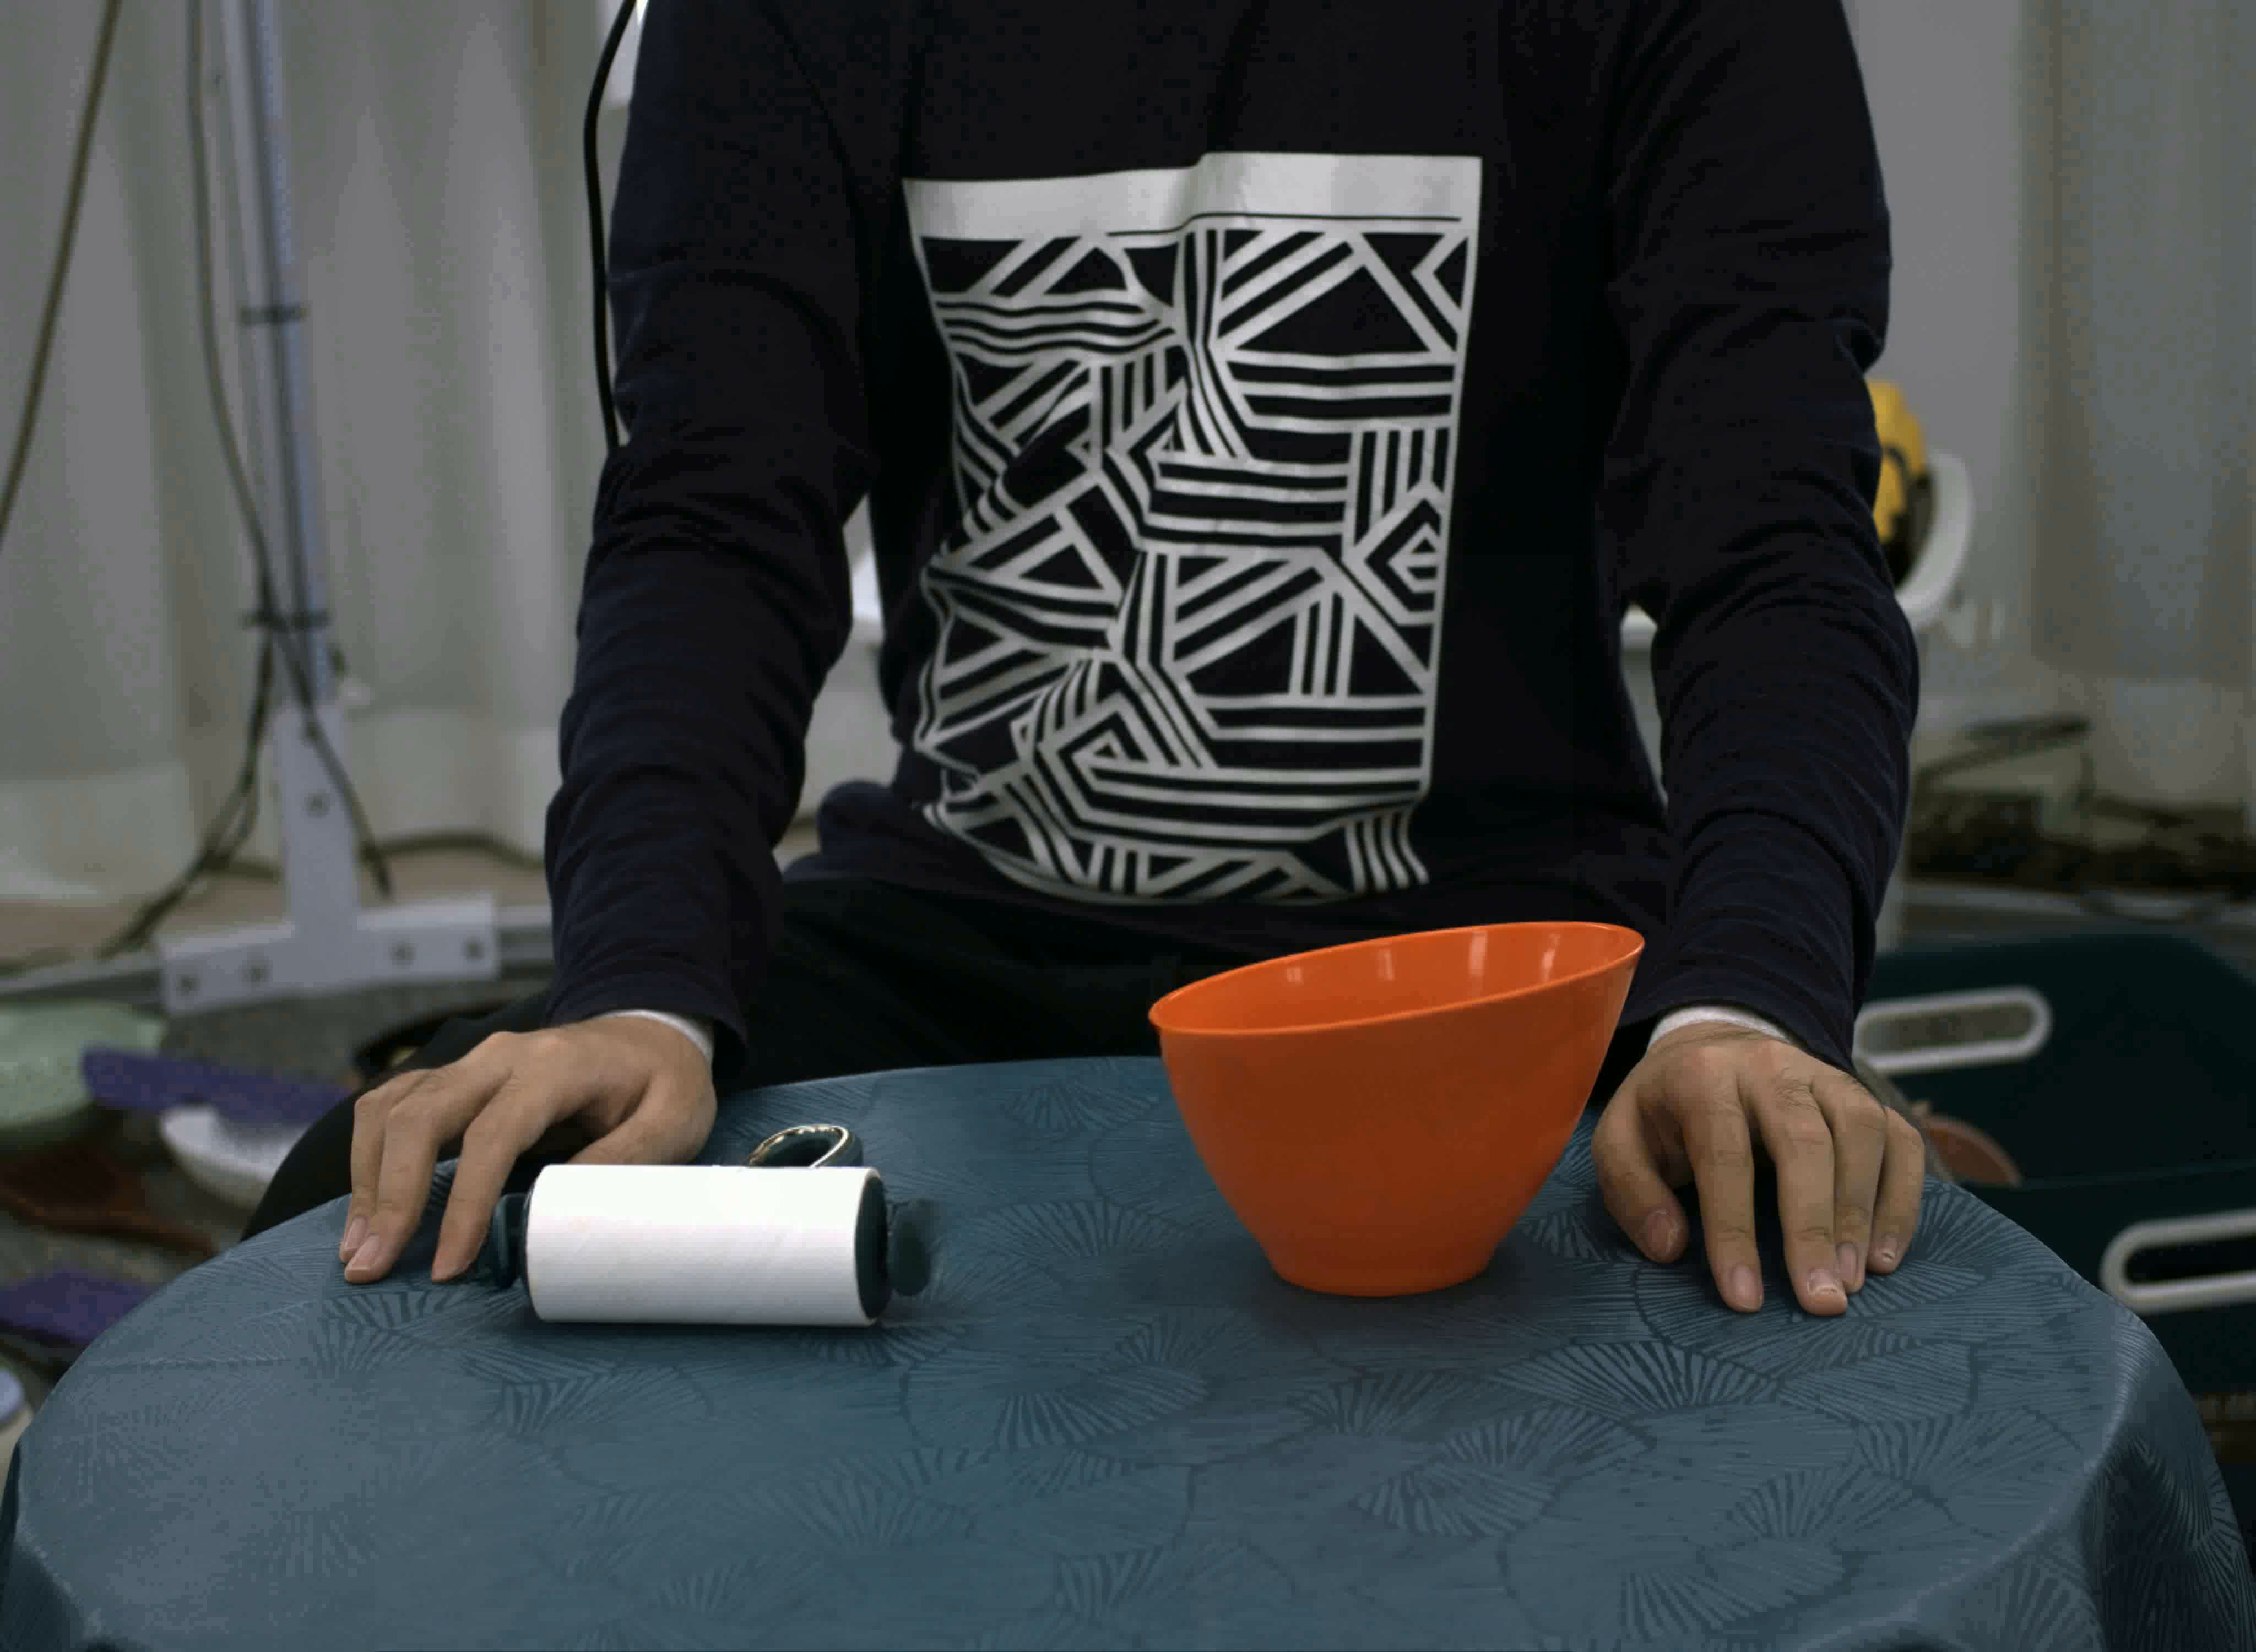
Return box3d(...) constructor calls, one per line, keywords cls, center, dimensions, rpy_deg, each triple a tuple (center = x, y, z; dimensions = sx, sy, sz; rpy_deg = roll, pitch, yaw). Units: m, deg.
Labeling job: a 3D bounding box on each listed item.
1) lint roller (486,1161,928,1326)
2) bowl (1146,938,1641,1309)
box3d(cls="lint roller", center=(-0.114, 0.110, 1.680), dimensions=(0.134, 0.048, 0.181), rpy_deg=(0, 12, 9))
box3d(cls="bowl", center=(0.079, 0.086, 1.622), dimensions=(0.147, 0.104, 0.149), rpy_deg=(-3, 12, 0))
